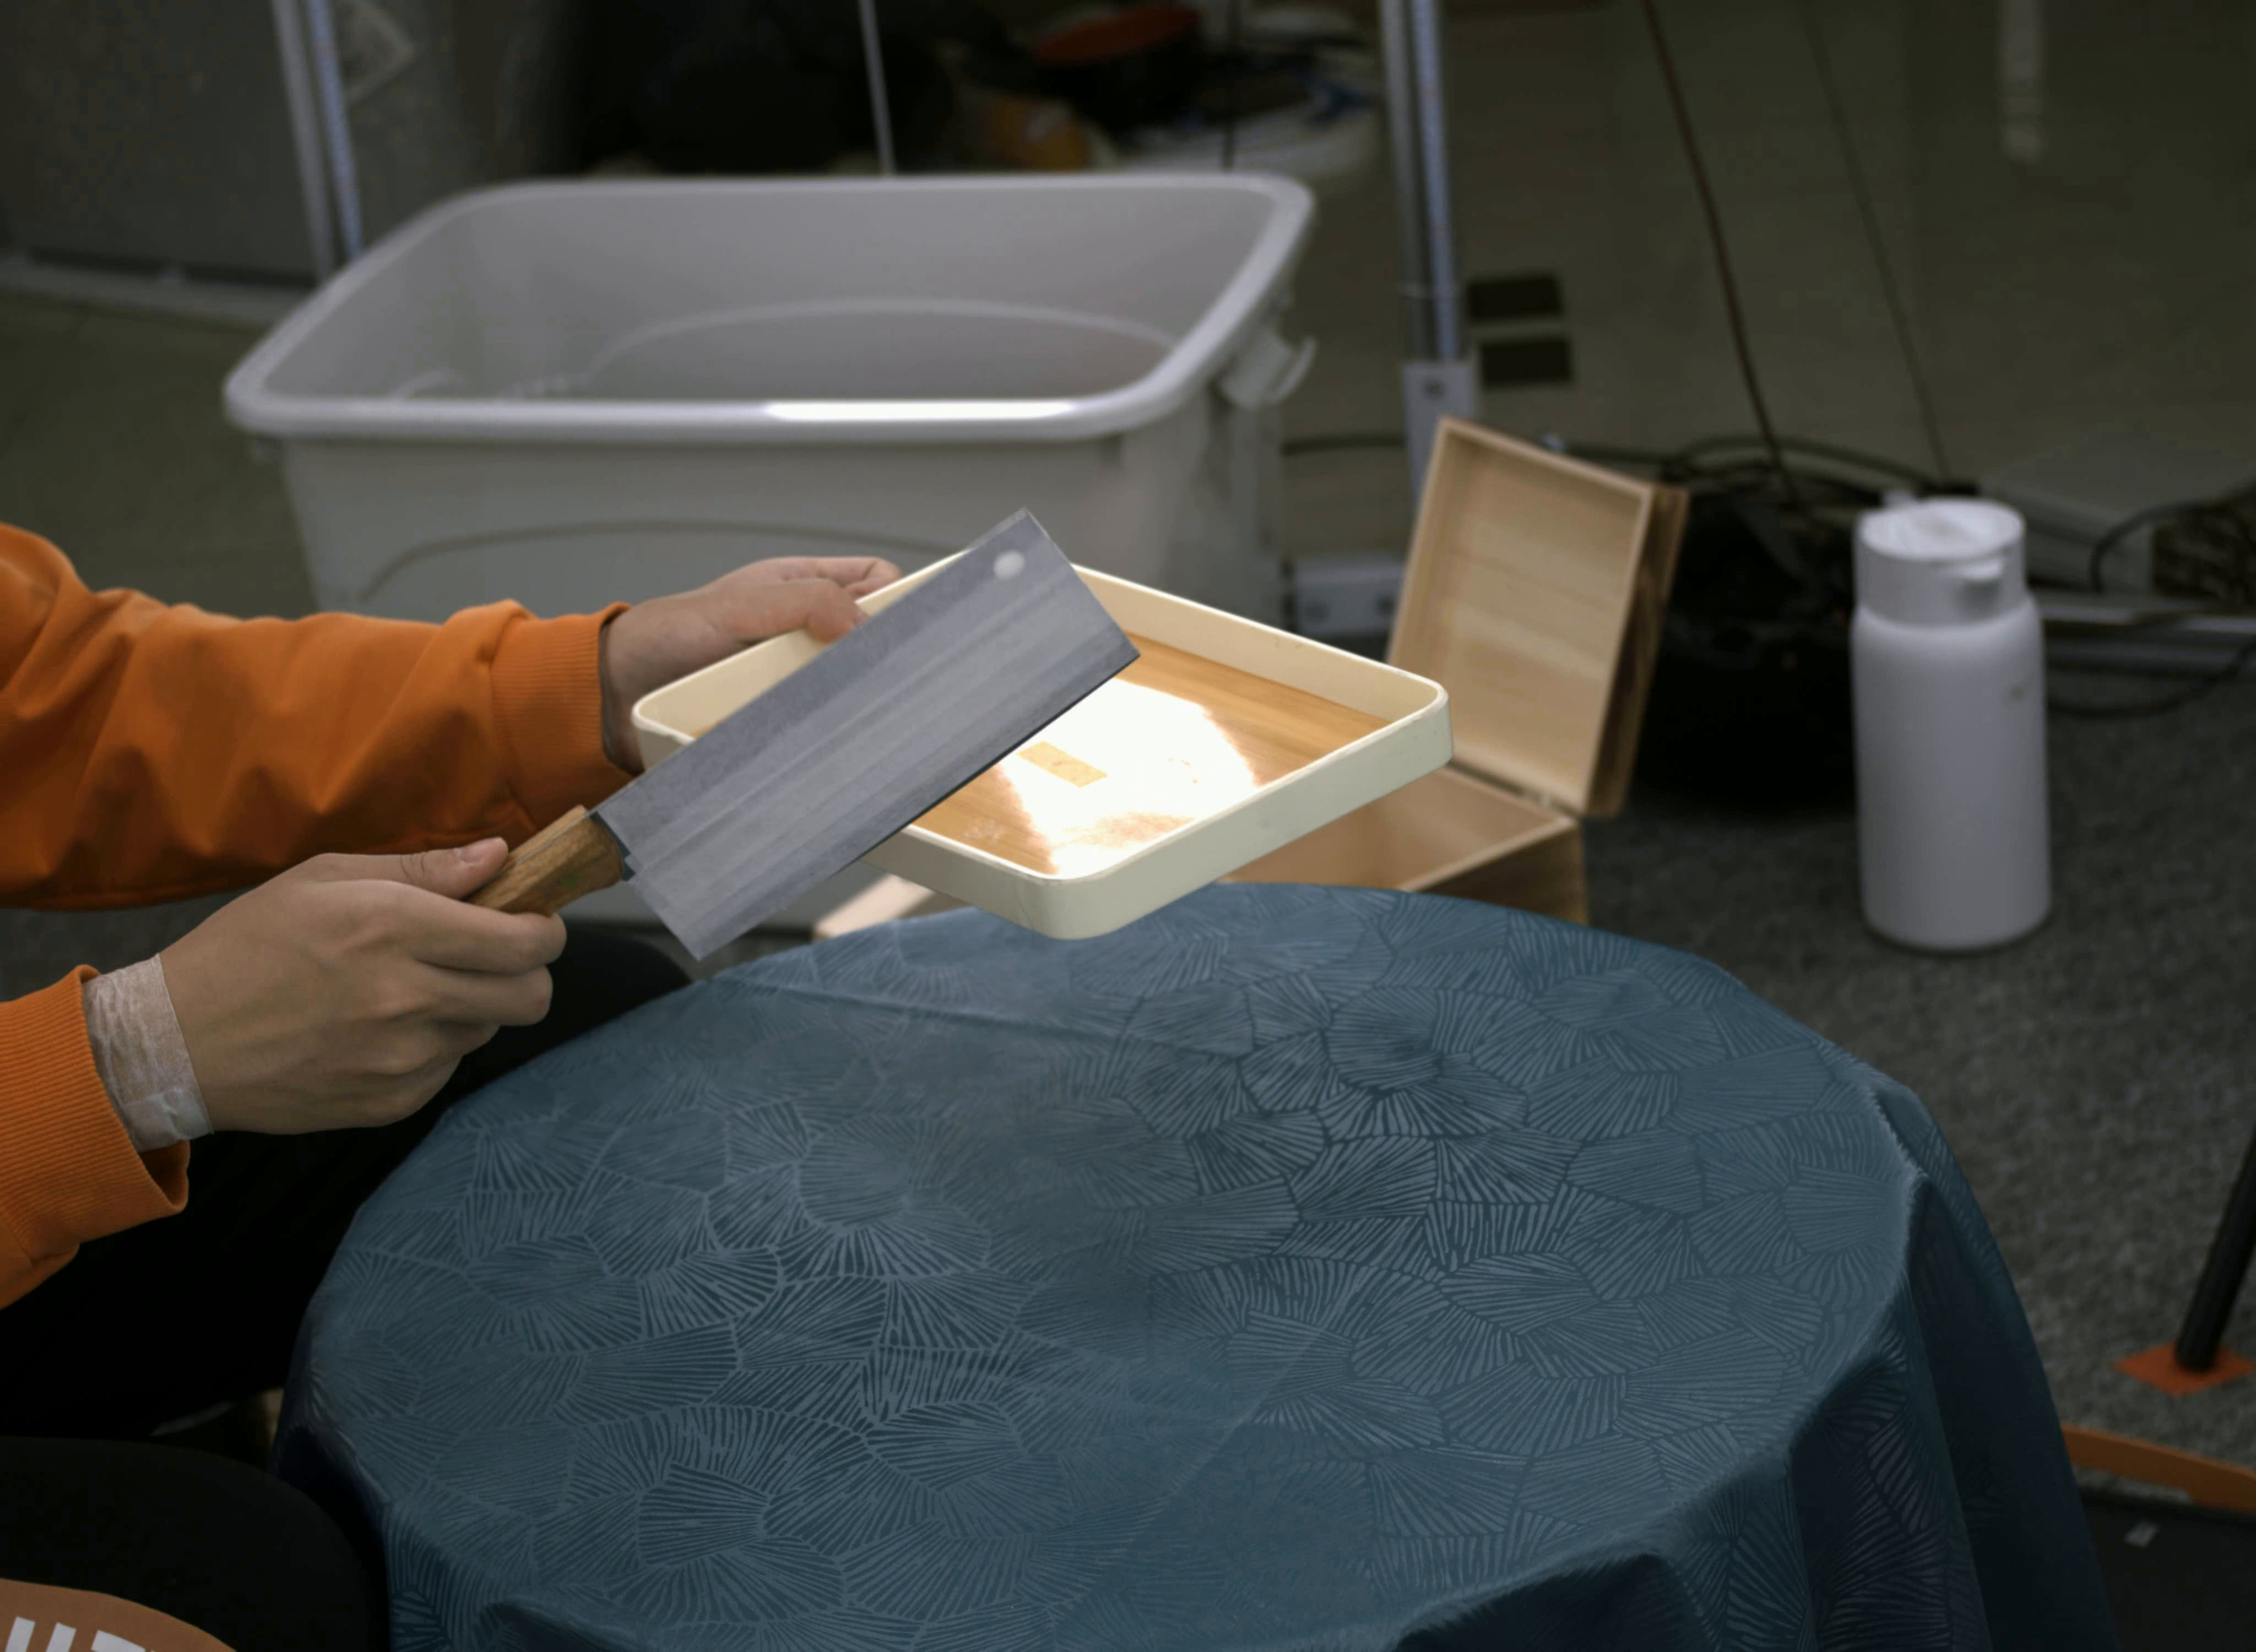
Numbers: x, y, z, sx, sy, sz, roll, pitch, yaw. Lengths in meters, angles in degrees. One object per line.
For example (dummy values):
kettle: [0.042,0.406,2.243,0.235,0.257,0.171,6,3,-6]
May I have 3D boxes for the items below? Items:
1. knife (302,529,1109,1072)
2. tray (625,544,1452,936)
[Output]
knife: [-0.141,0.003,1.950,0.306,0.094,0.020,-34,51,6]
tray: [-0.038,-0.037,2.144,0.190,0.028,0.298,-26,28,-30]
